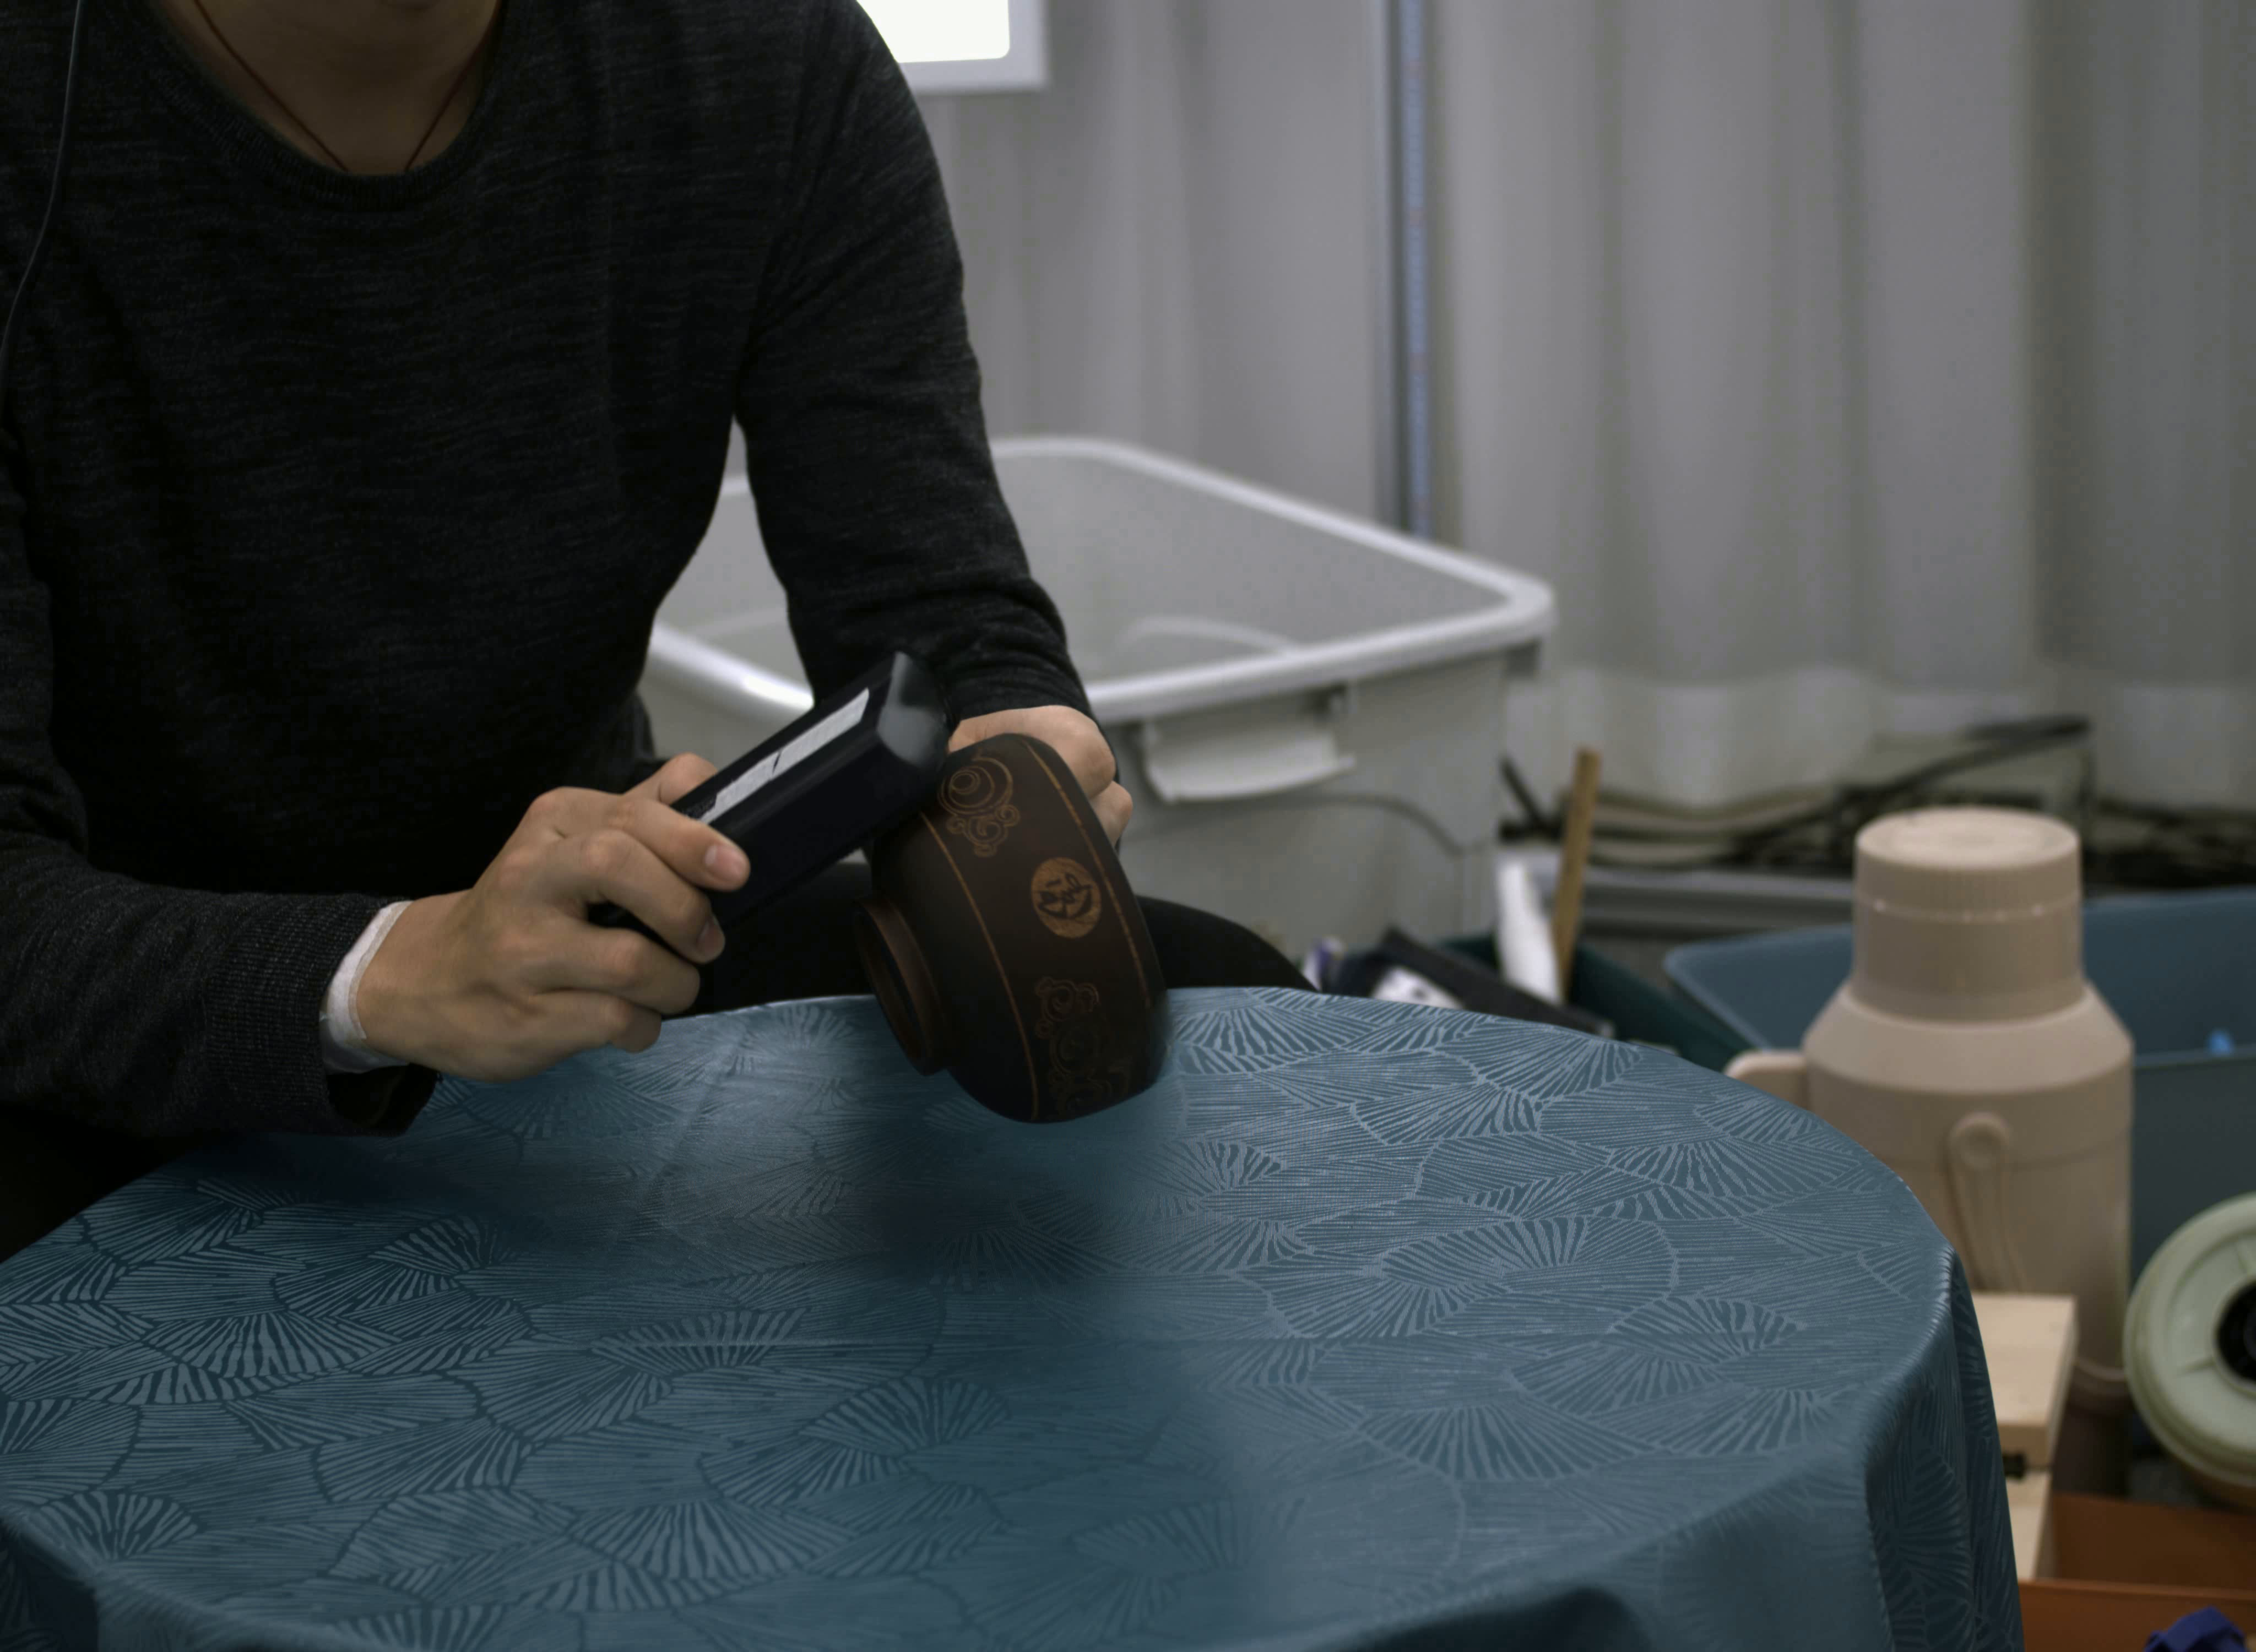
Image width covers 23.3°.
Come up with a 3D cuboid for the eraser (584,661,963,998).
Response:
[{"bbox_3d":[-0.105,0.001,1.635,0.125,0.030,0.054,-34,20,24],"label":"eraser"}]

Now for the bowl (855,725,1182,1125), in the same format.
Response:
[{"bbox_3d":[-0.039,0.036,1.634,0.070,0.117,0.119,-22,19,-14],"label":"bowl"}]
